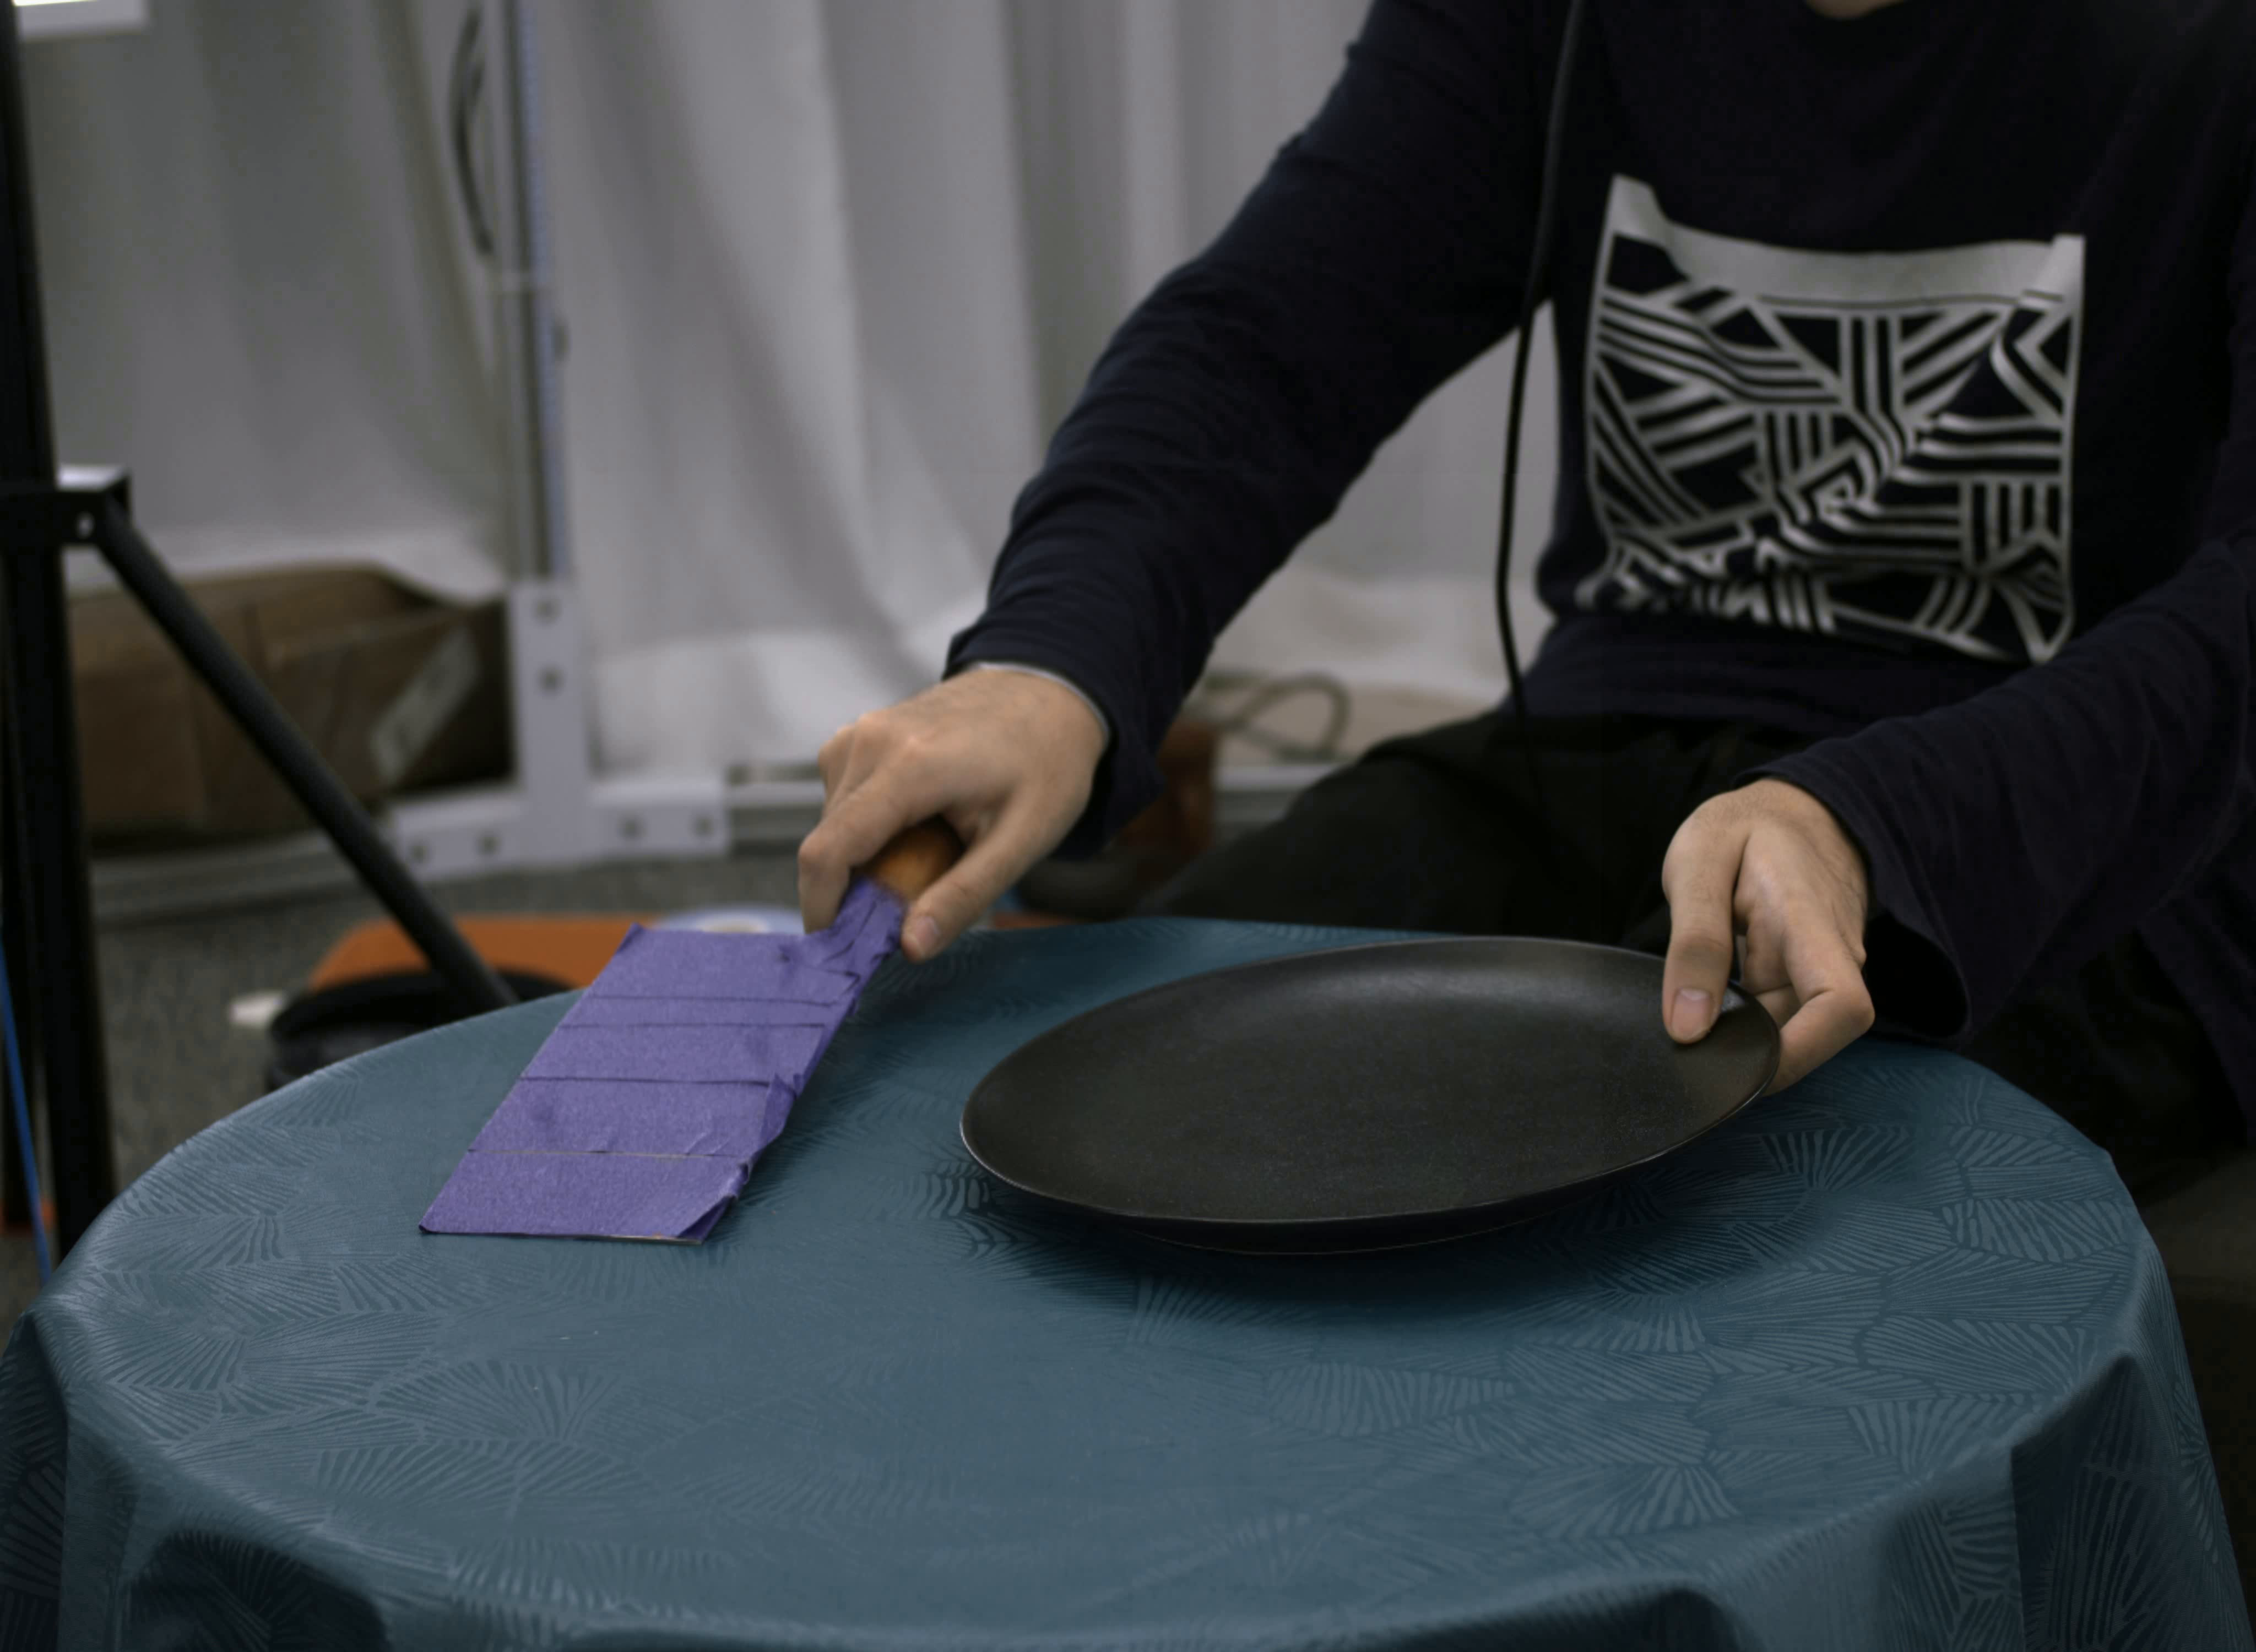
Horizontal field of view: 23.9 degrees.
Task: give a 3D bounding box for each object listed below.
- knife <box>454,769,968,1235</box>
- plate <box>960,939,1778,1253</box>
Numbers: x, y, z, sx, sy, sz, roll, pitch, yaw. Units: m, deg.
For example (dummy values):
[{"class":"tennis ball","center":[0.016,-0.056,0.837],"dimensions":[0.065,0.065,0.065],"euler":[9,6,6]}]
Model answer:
[{"class":"knife","center":[-0.129,0.051,1.678],"dimensions":[0.104,0.032,0.314],"euler":[2,22,13]},{"class":"plate","center":[0.072,0.083,1.571],"dimensions":[0.243,0.023,0.246],"euler":[-8,16,1]}]
